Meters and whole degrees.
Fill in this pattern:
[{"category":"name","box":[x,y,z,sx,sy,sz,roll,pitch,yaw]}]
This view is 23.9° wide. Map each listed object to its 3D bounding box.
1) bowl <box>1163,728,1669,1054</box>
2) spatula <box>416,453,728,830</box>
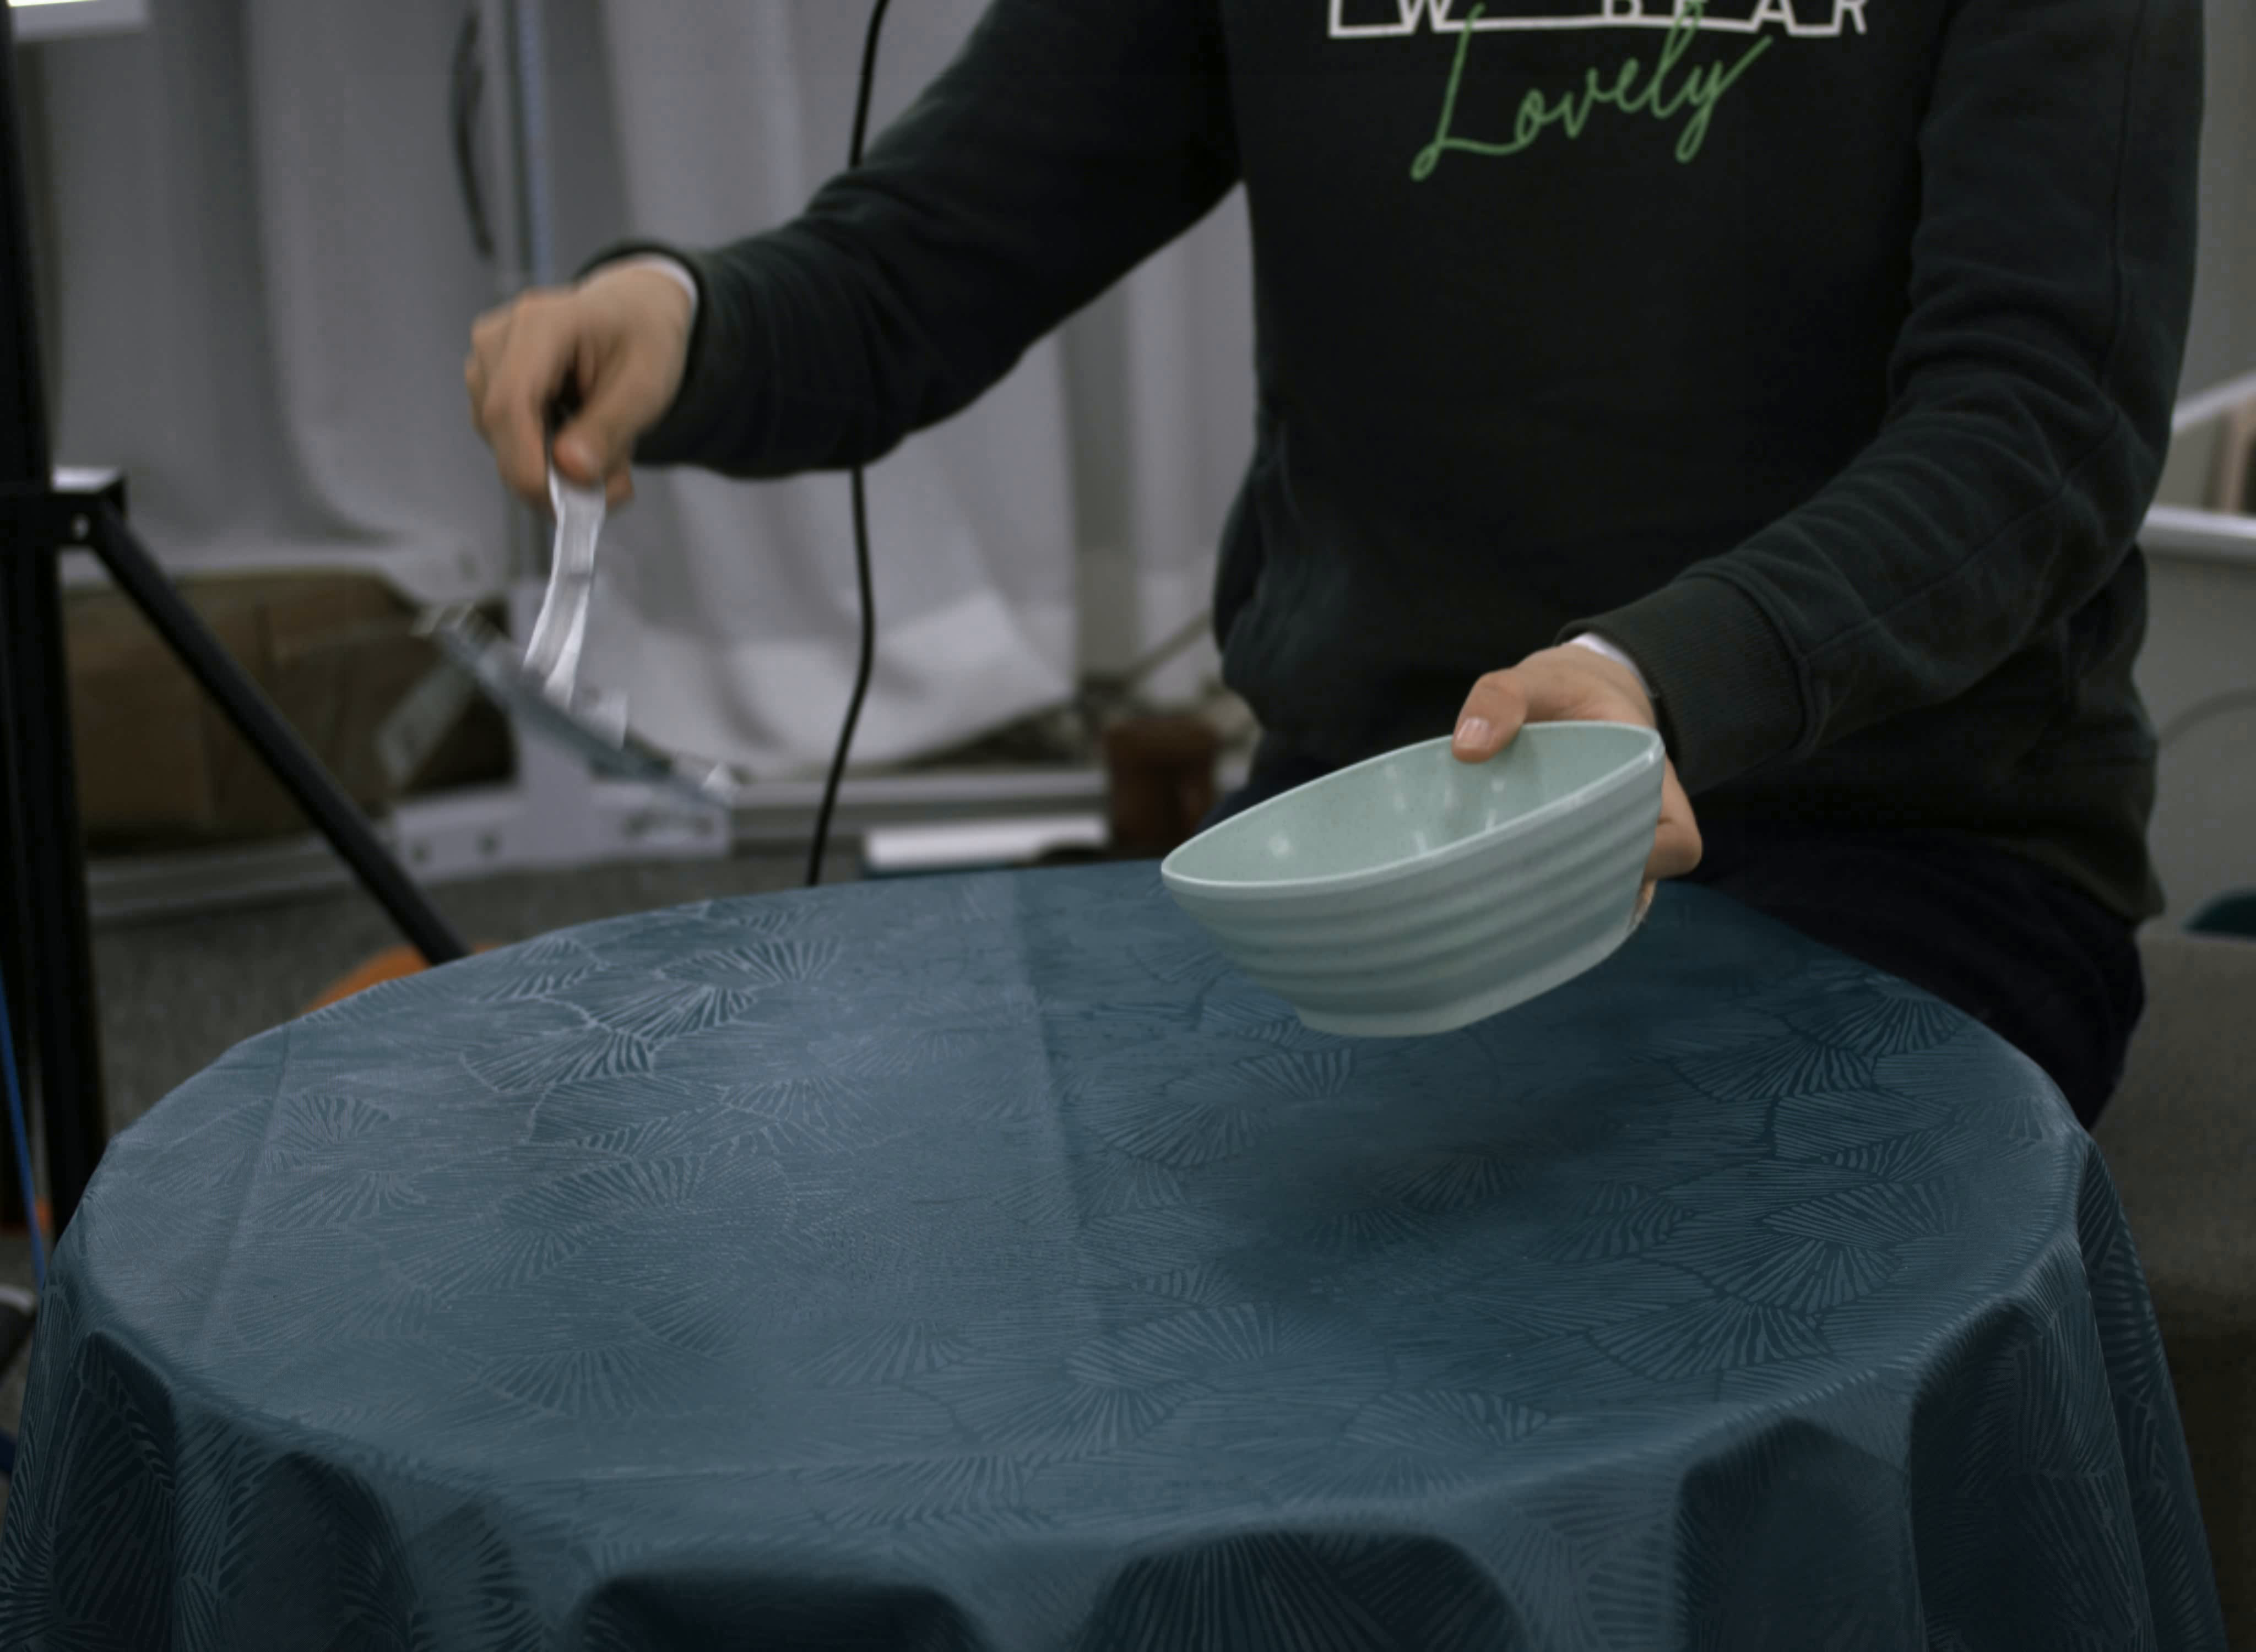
[{"category":"bowl","box":[0.089,0.023,1.539,0.151,0.058,0.152,-16,14,2]},{"category":"spatula","box":[-0.167,-0.072,1.649,0.097,0.045,0.367,29,18,-12]}]
